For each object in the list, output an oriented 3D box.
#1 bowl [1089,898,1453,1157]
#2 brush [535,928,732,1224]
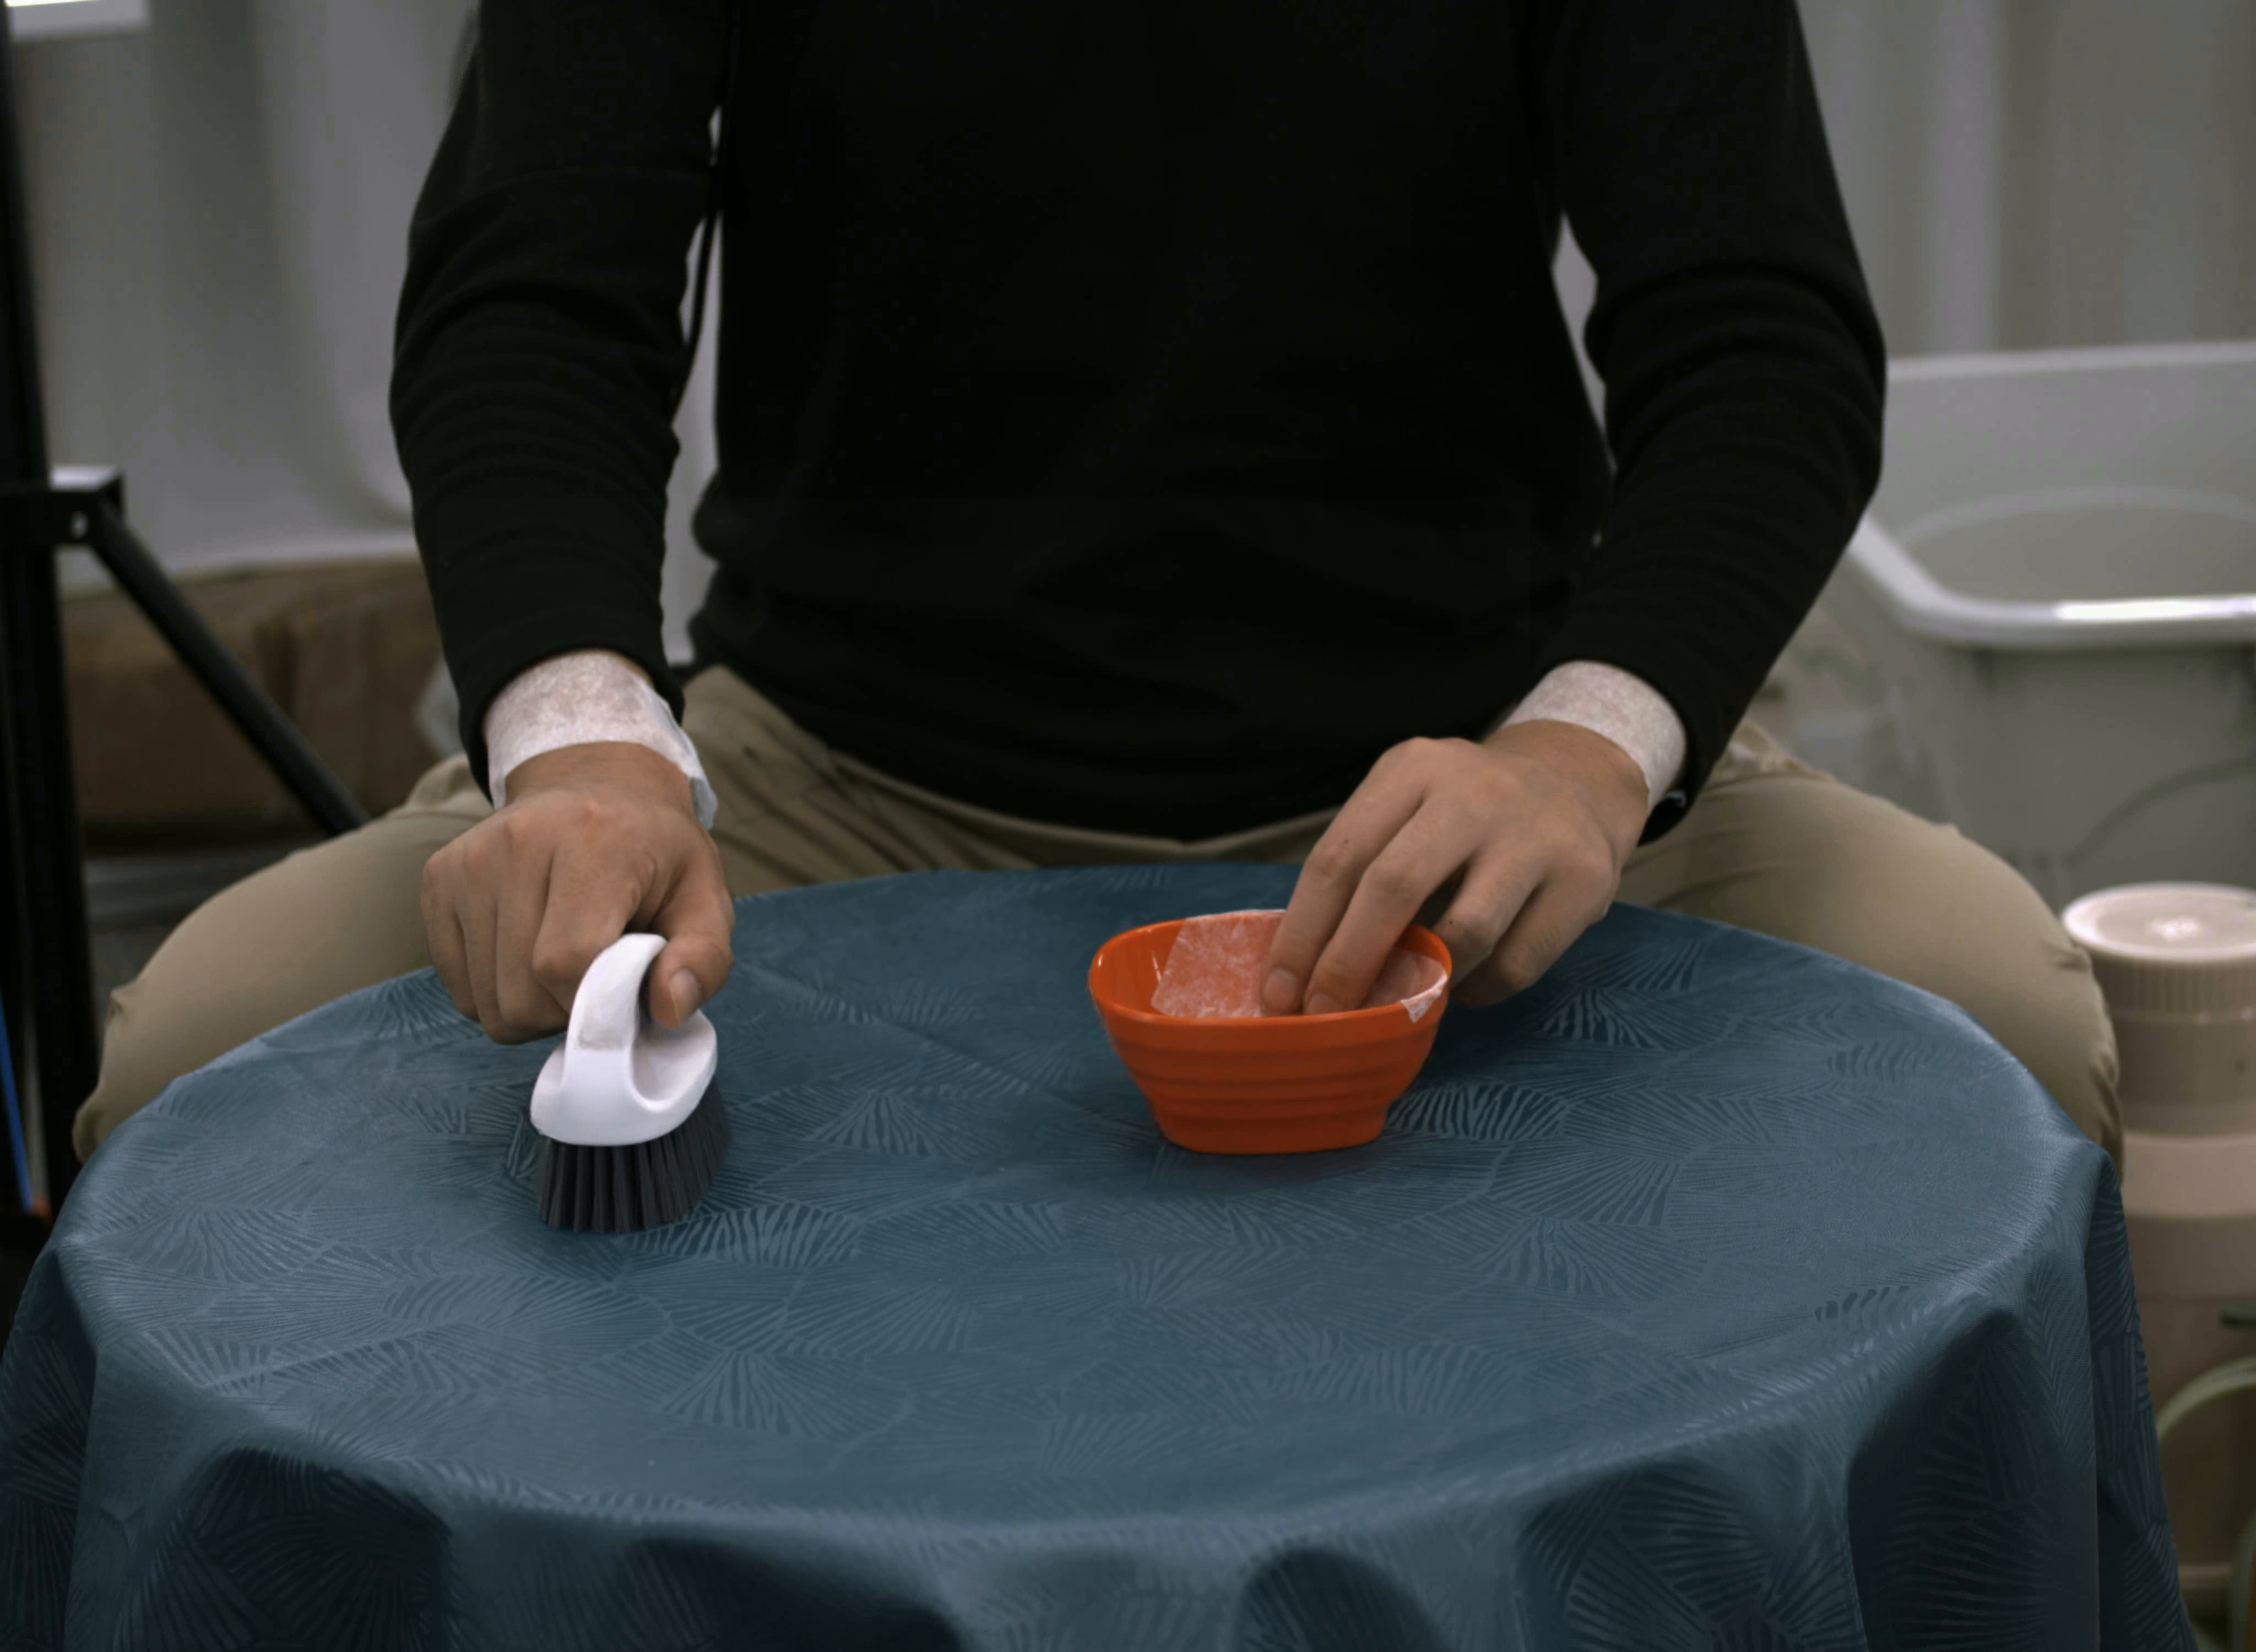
[{"bbox_3d":[0.045,0.064,1.608,0.118,0.051,0.119,-5,19,0],"label":"bowl"},{"bbox_3d":[-0.148,0.069,1.584,0.050,0.072,0.099,0,16,9],"label":"brush"}]
